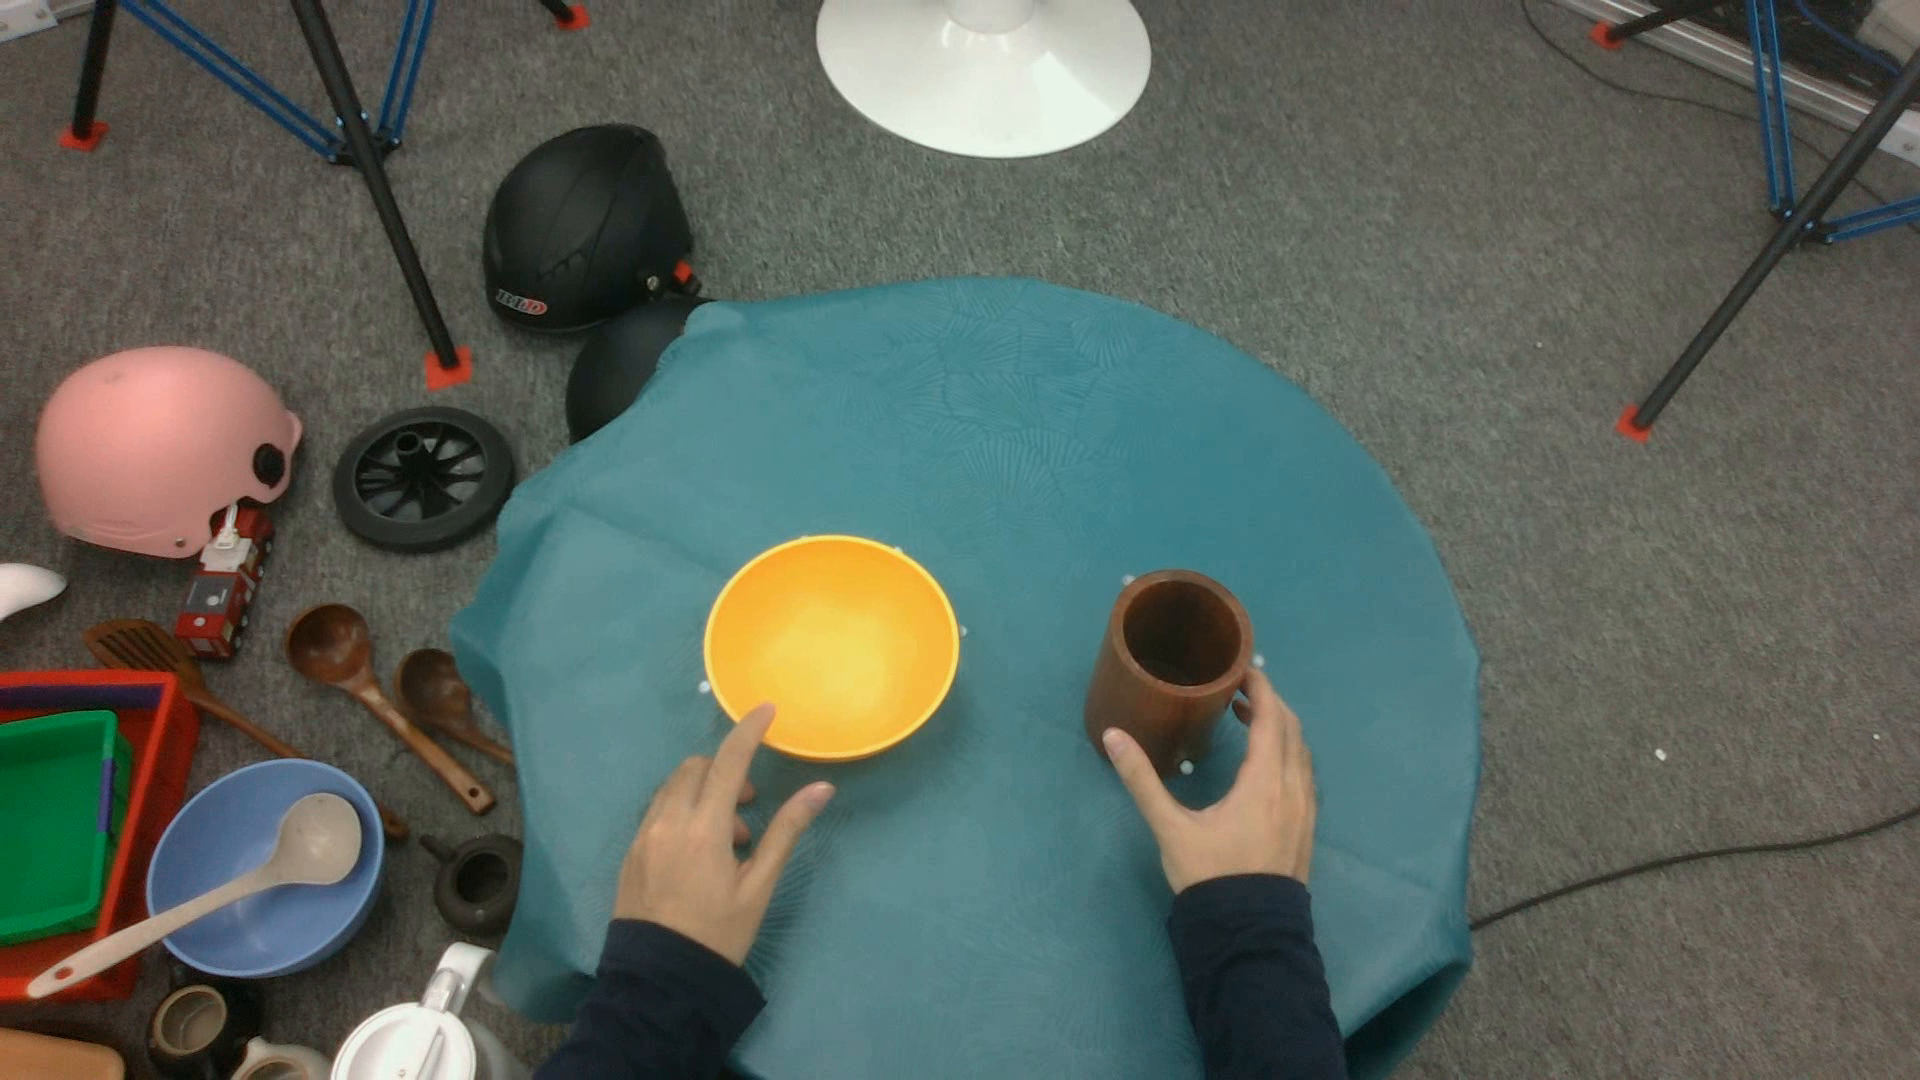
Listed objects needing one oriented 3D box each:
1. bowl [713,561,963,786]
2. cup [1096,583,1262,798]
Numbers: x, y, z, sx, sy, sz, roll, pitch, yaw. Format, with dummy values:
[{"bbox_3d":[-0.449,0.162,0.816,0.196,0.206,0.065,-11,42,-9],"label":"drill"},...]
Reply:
[{"bbox_3d":[-0.071,0.088,0.822,0.145,0.060,0.146,1,58,-2],"label":"bowl"},{"bbox_3d":[0.123,0.090,0.797,0.088,0.118,0.088,0,55,1],"label":"cup"}]
